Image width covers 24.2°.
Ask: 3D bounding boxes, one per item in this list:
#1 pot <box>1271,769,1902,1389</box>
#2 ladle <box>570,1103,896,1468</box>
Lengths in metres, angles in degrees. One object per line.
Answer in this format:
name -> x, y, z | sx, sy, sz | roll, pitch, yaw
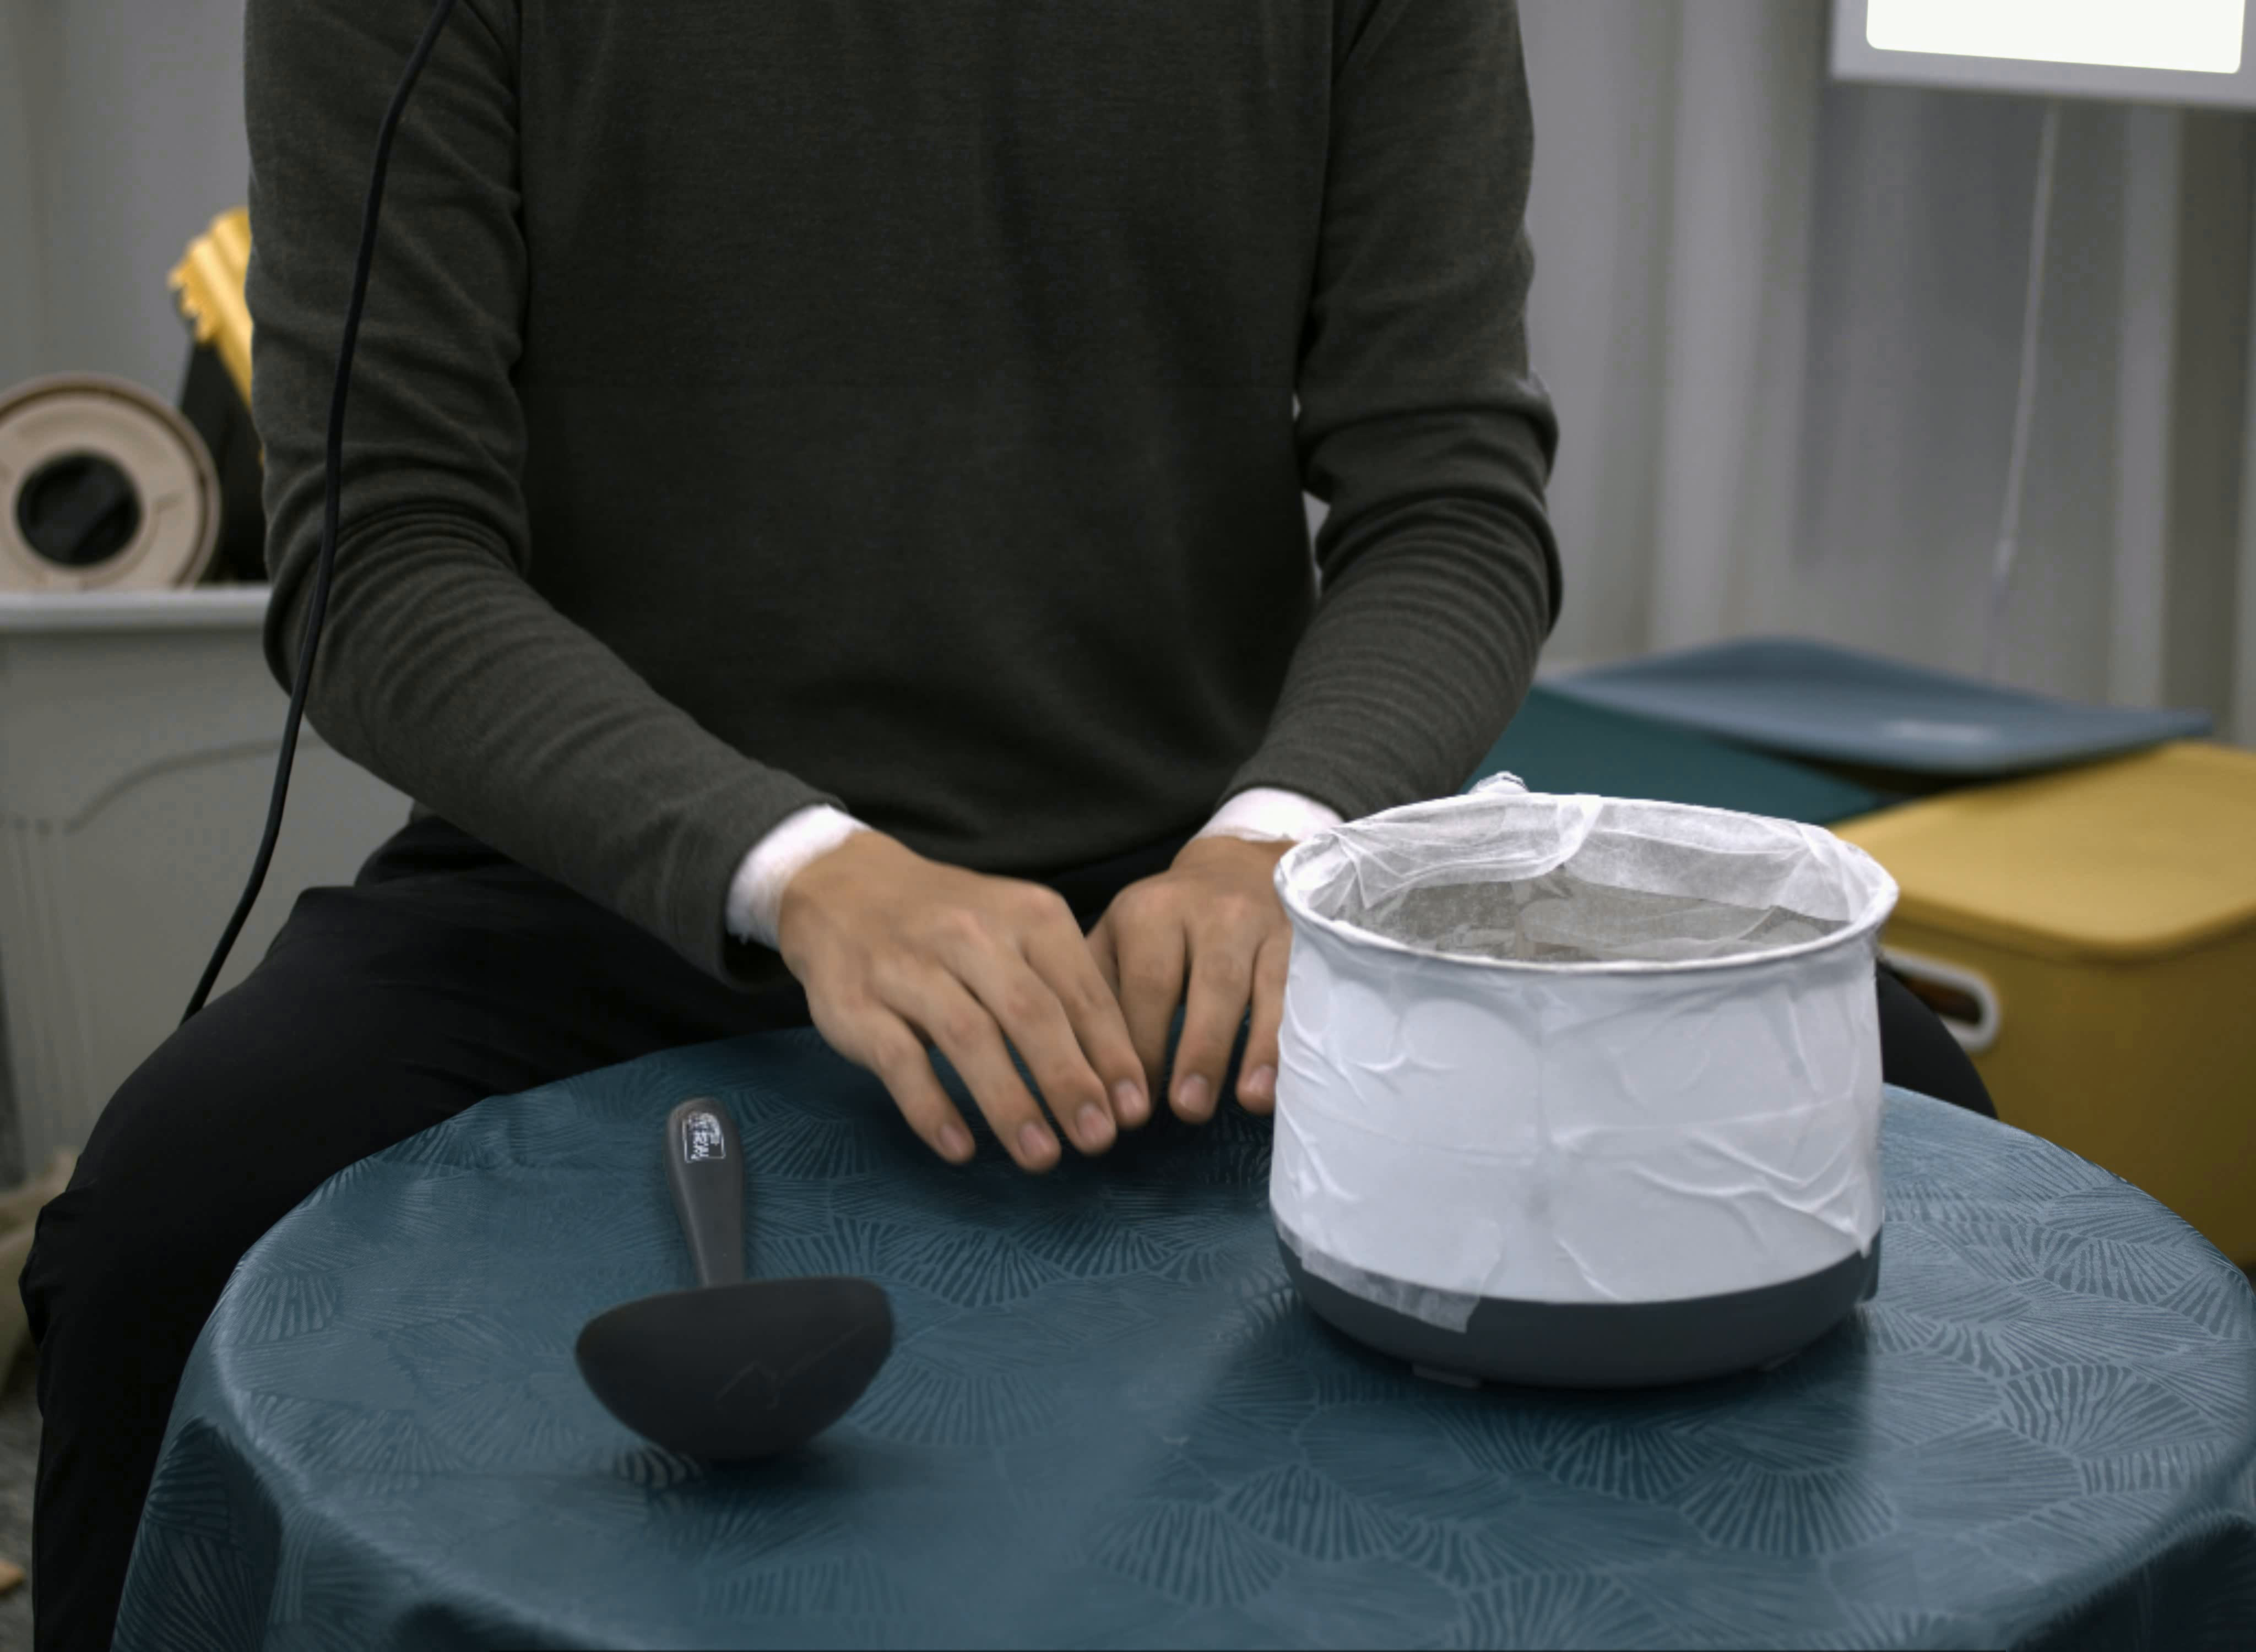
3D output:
pot -> 0.124, 0.068, 1.532 | 0.179, 0.138, 0.231 | -2, 16, -11
ladle -> -0.119, 0.110, 1.510 | 0.086, 0.064, 0.311 | -1, 15, -7
